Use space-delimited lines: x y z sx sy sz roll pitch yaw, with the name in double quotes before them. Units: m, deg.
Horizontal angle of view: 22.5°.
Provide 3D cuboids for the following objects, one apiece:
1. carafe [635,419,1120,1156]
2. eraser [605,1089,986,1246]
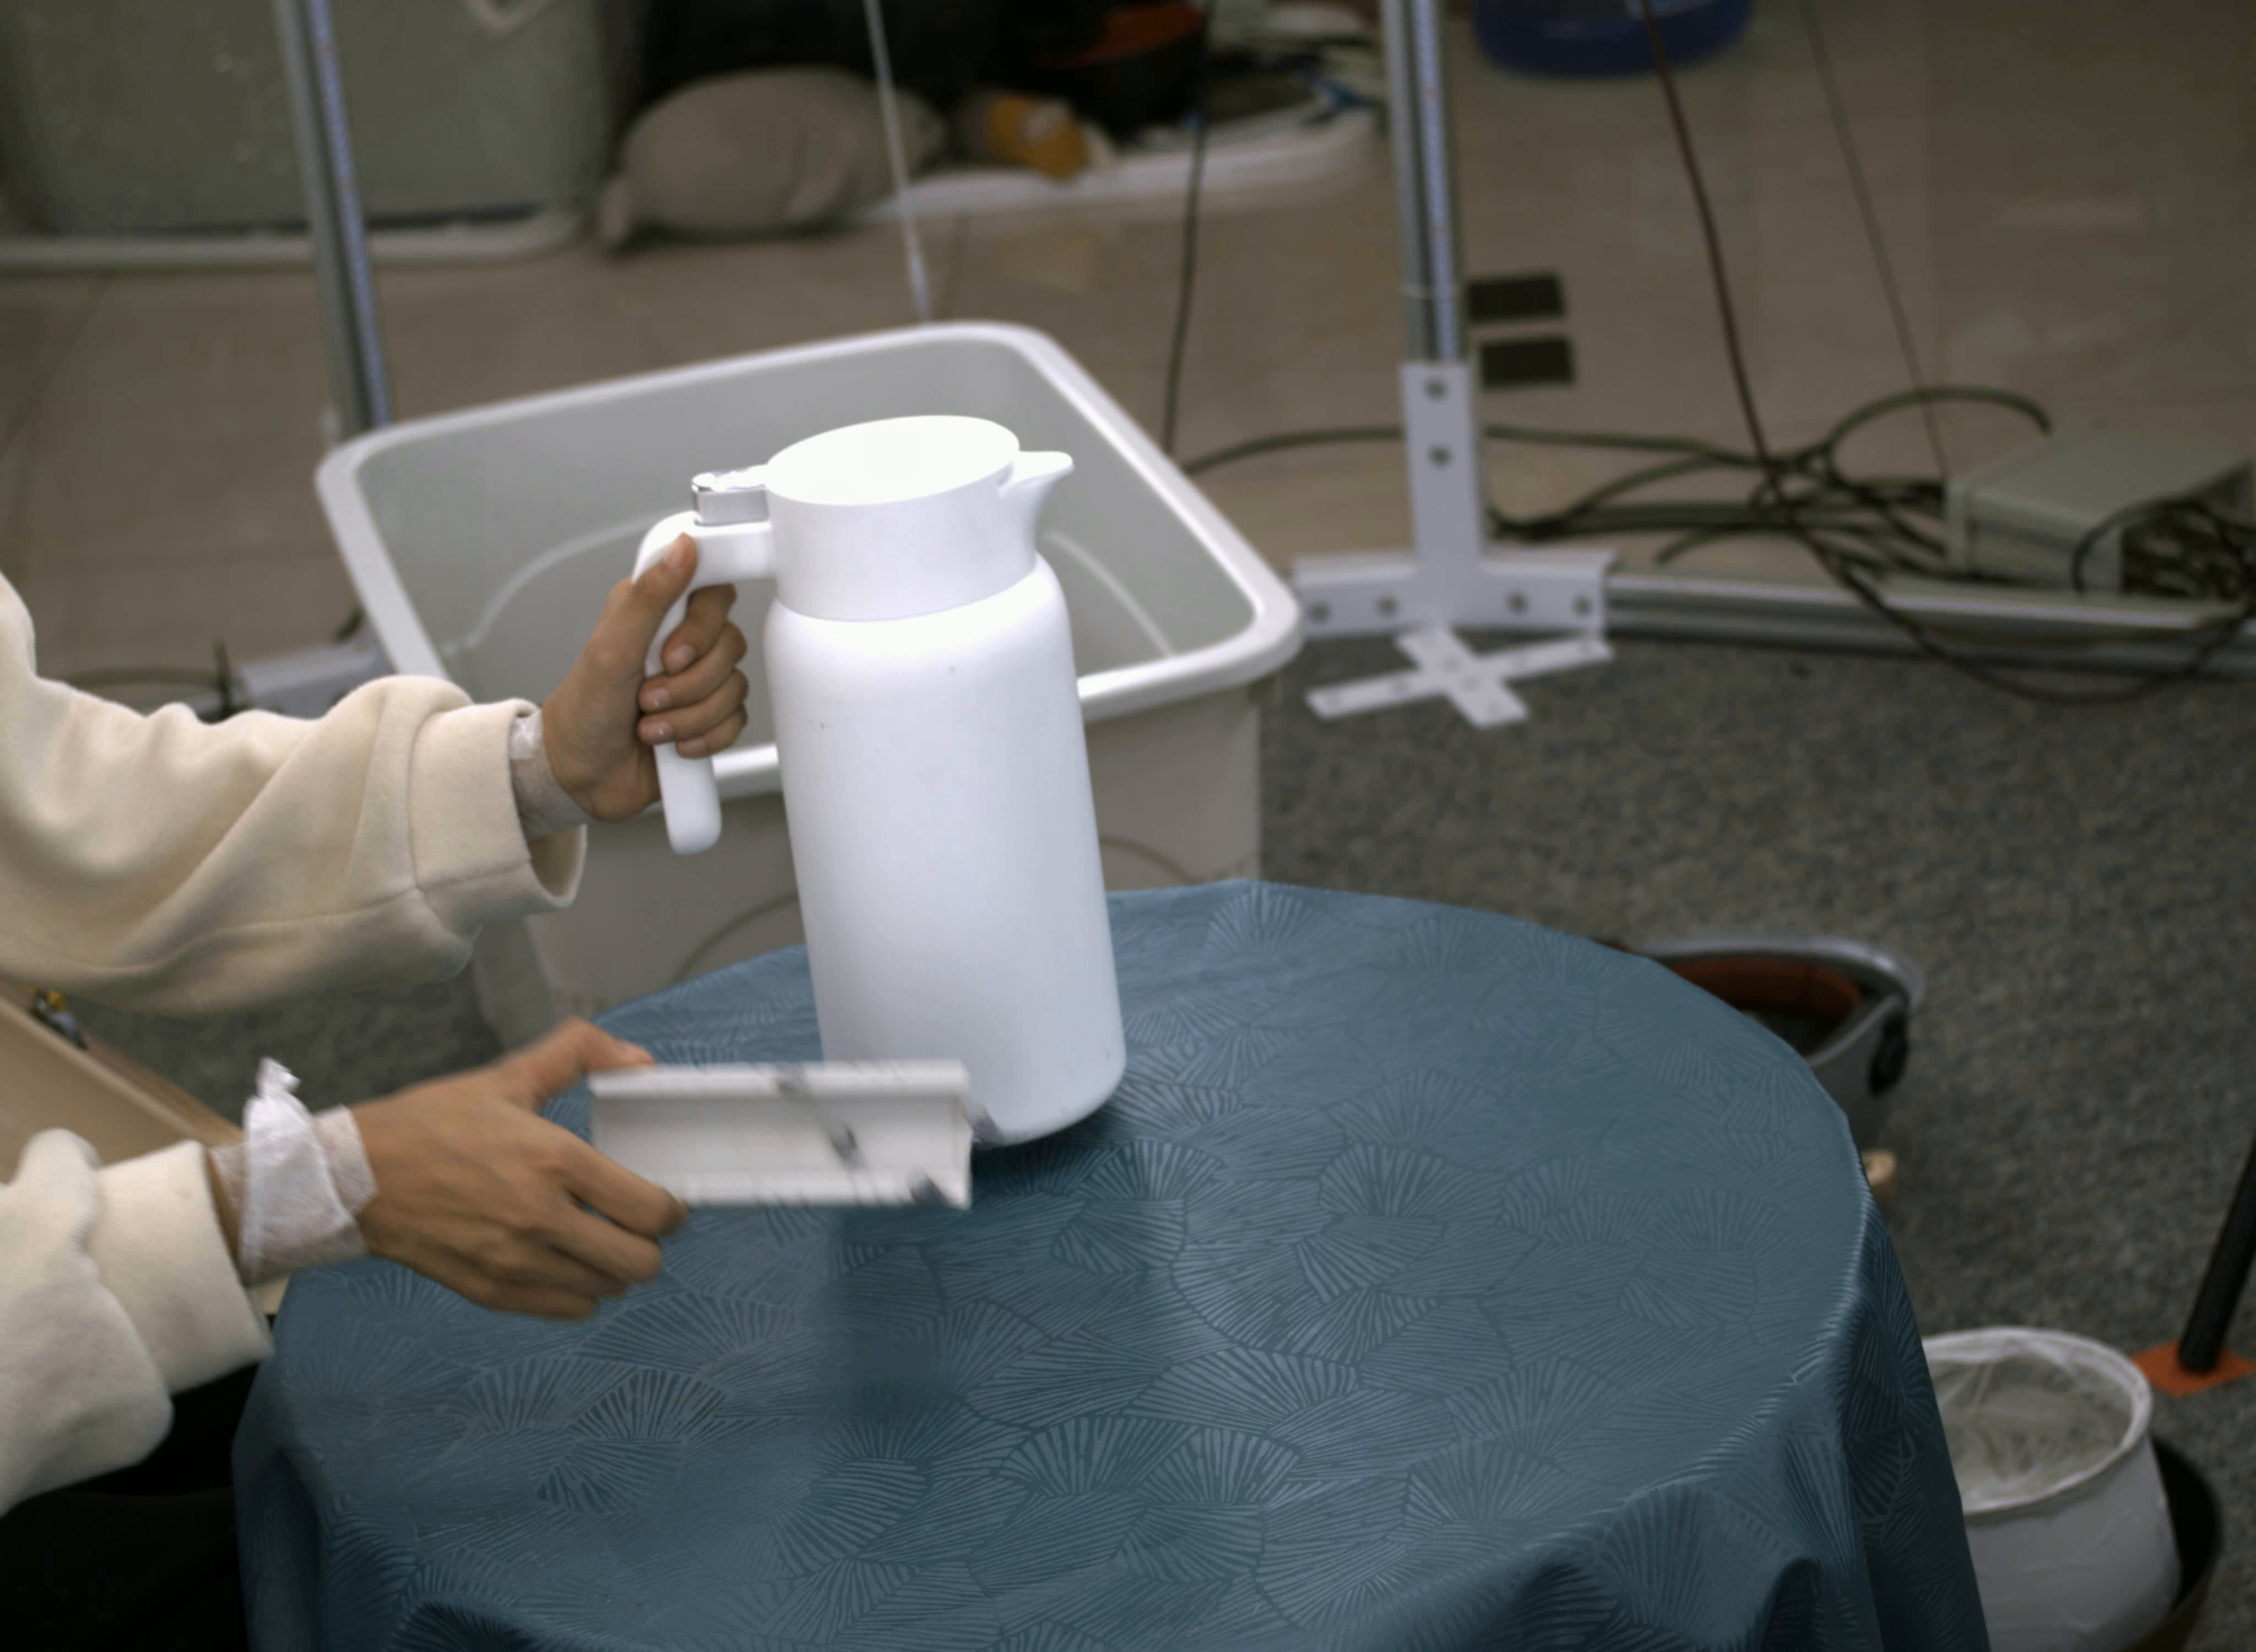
"carafe" -0.090 -0.012 2.158 0.172 0.273 0.122 -6 25 3
"eraser" -0.118 0.122 2.024 0.134 0.049 0.047 -2 -6 -3
